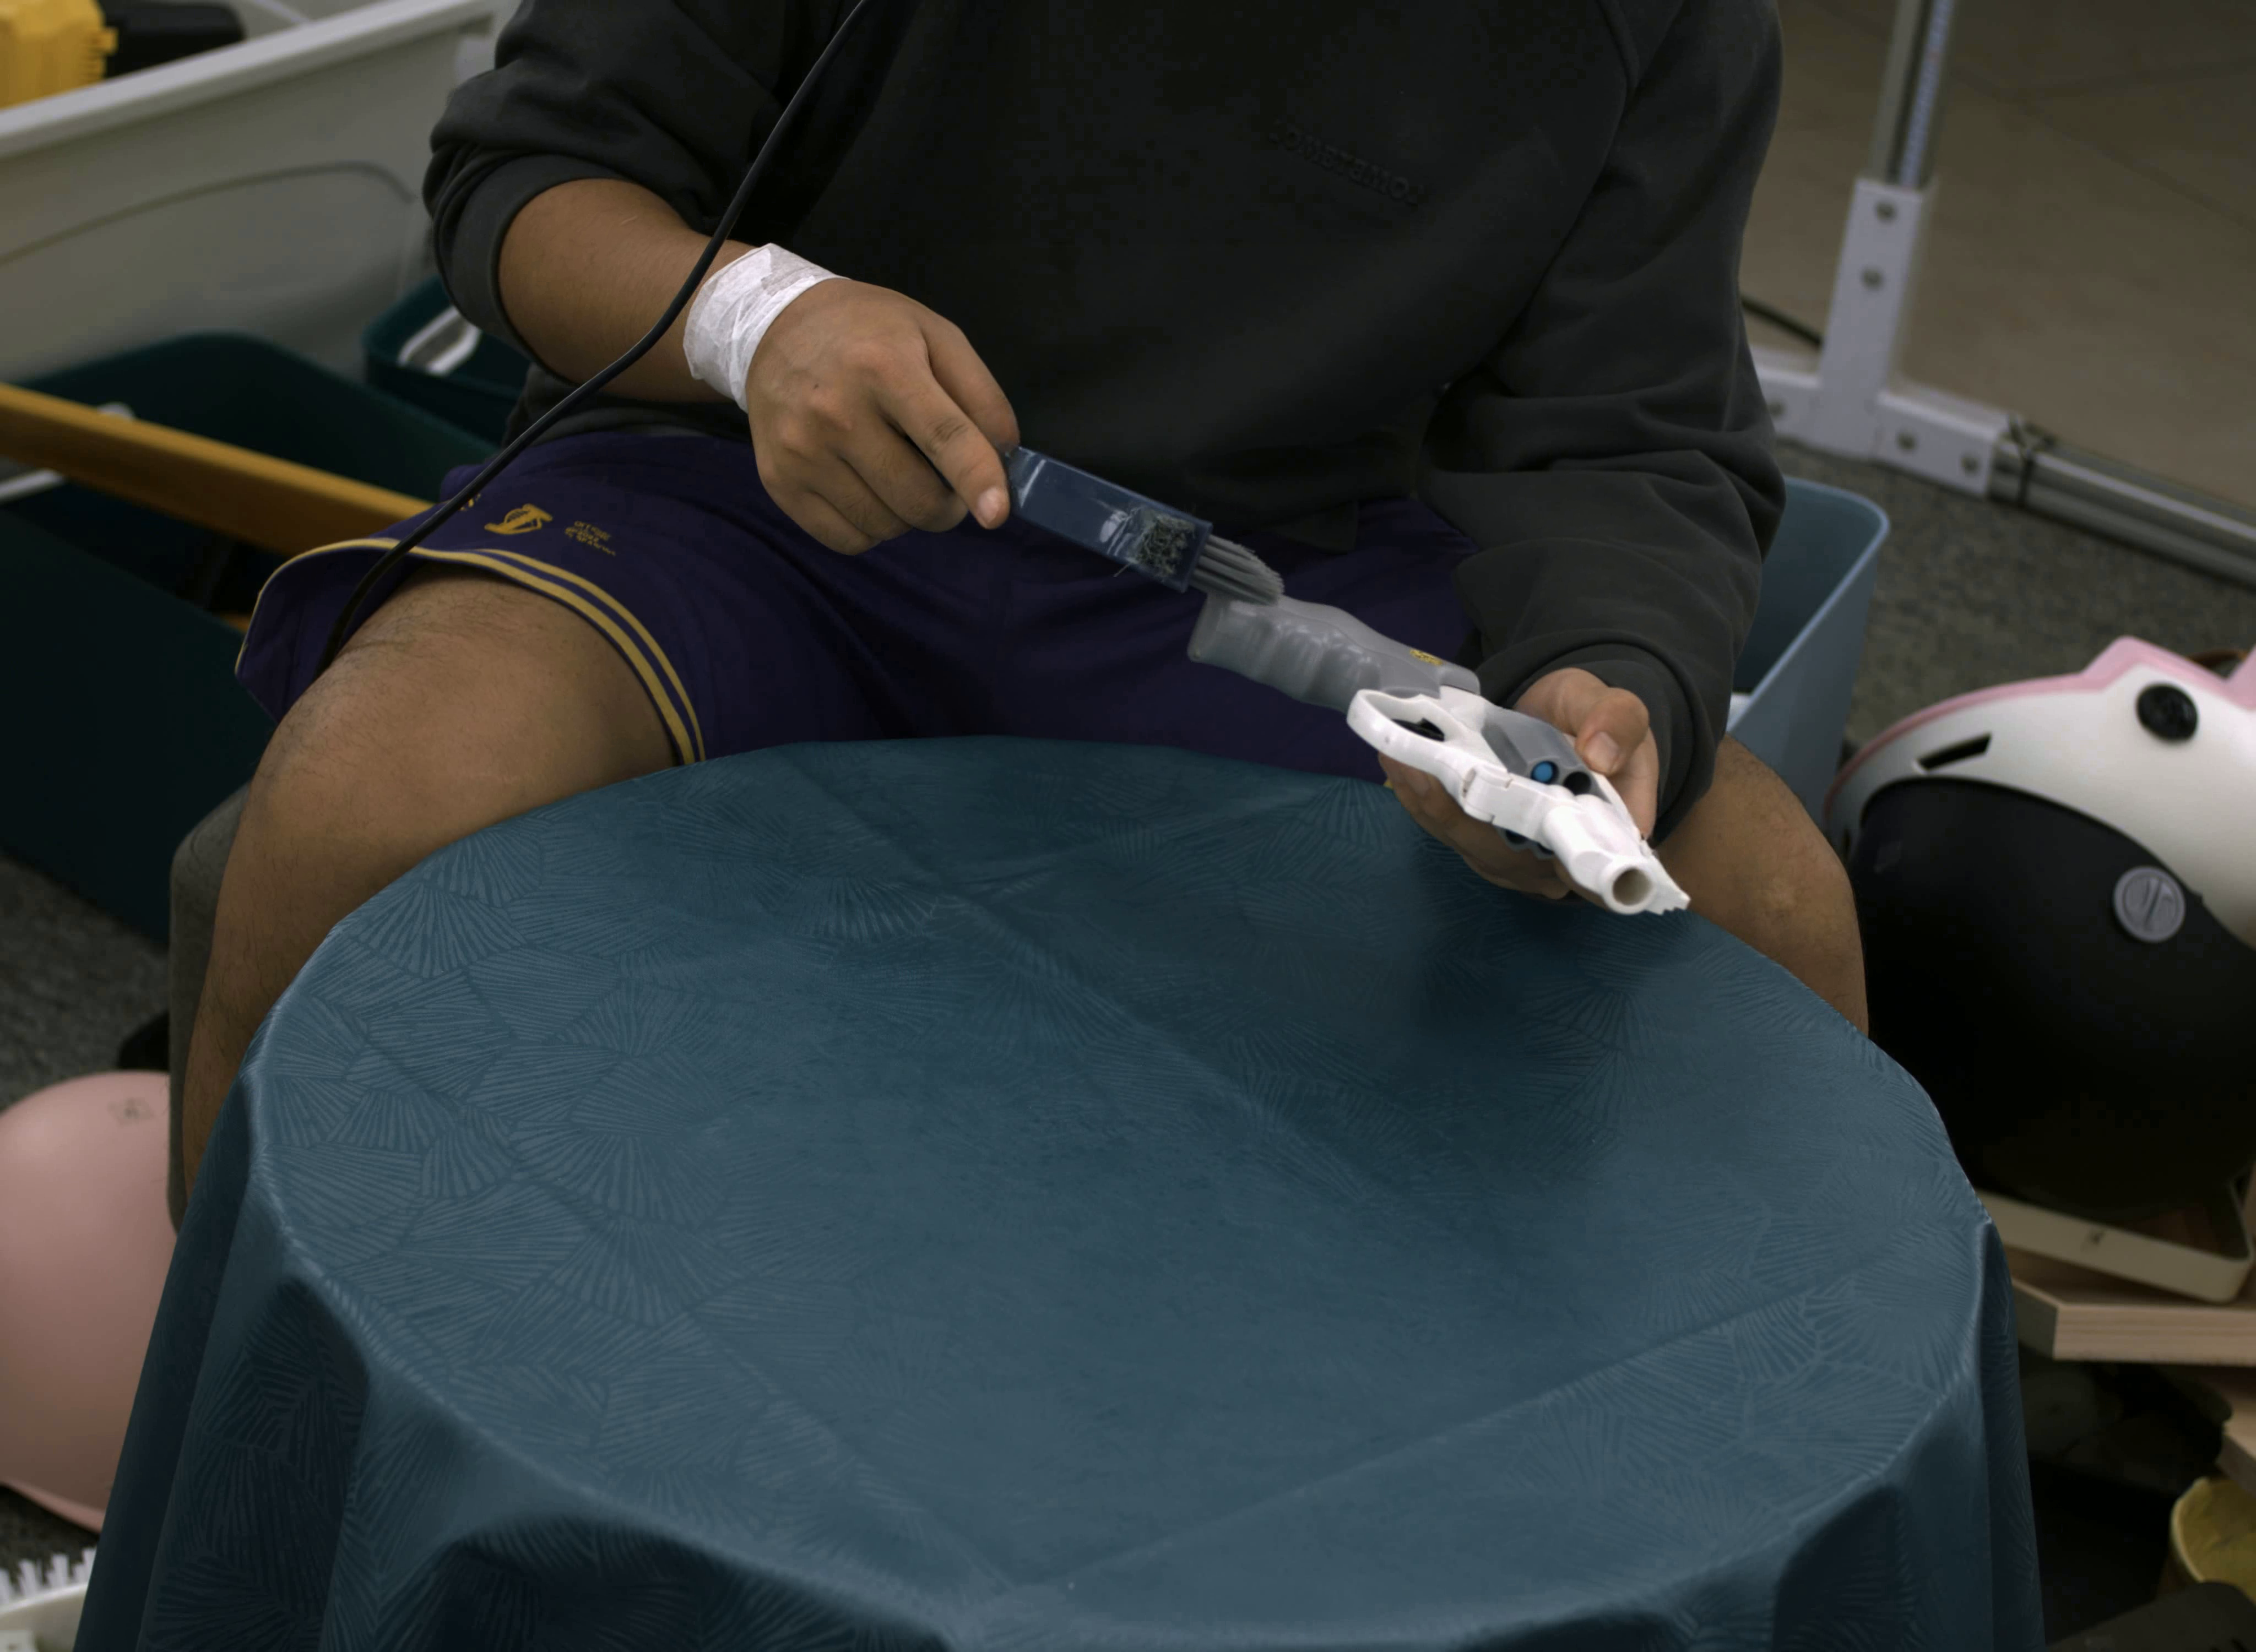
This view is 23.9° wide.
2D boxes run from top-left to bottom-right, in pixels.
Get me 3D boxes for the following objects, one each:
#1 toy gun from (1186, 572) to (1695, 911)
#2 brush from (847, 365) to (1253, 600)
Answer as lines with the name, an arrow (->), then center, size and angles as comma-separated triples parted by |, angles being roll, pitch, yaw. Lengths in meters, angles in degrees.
toy gun -> 0.106, -0.030, 1.852 | 0.140, 0.039, 0.210 | 17, 15, -19
brush -> -0.045, -0.128, 1.928 | 0.095, 0.033, 0.275 | 16, 7, -40
